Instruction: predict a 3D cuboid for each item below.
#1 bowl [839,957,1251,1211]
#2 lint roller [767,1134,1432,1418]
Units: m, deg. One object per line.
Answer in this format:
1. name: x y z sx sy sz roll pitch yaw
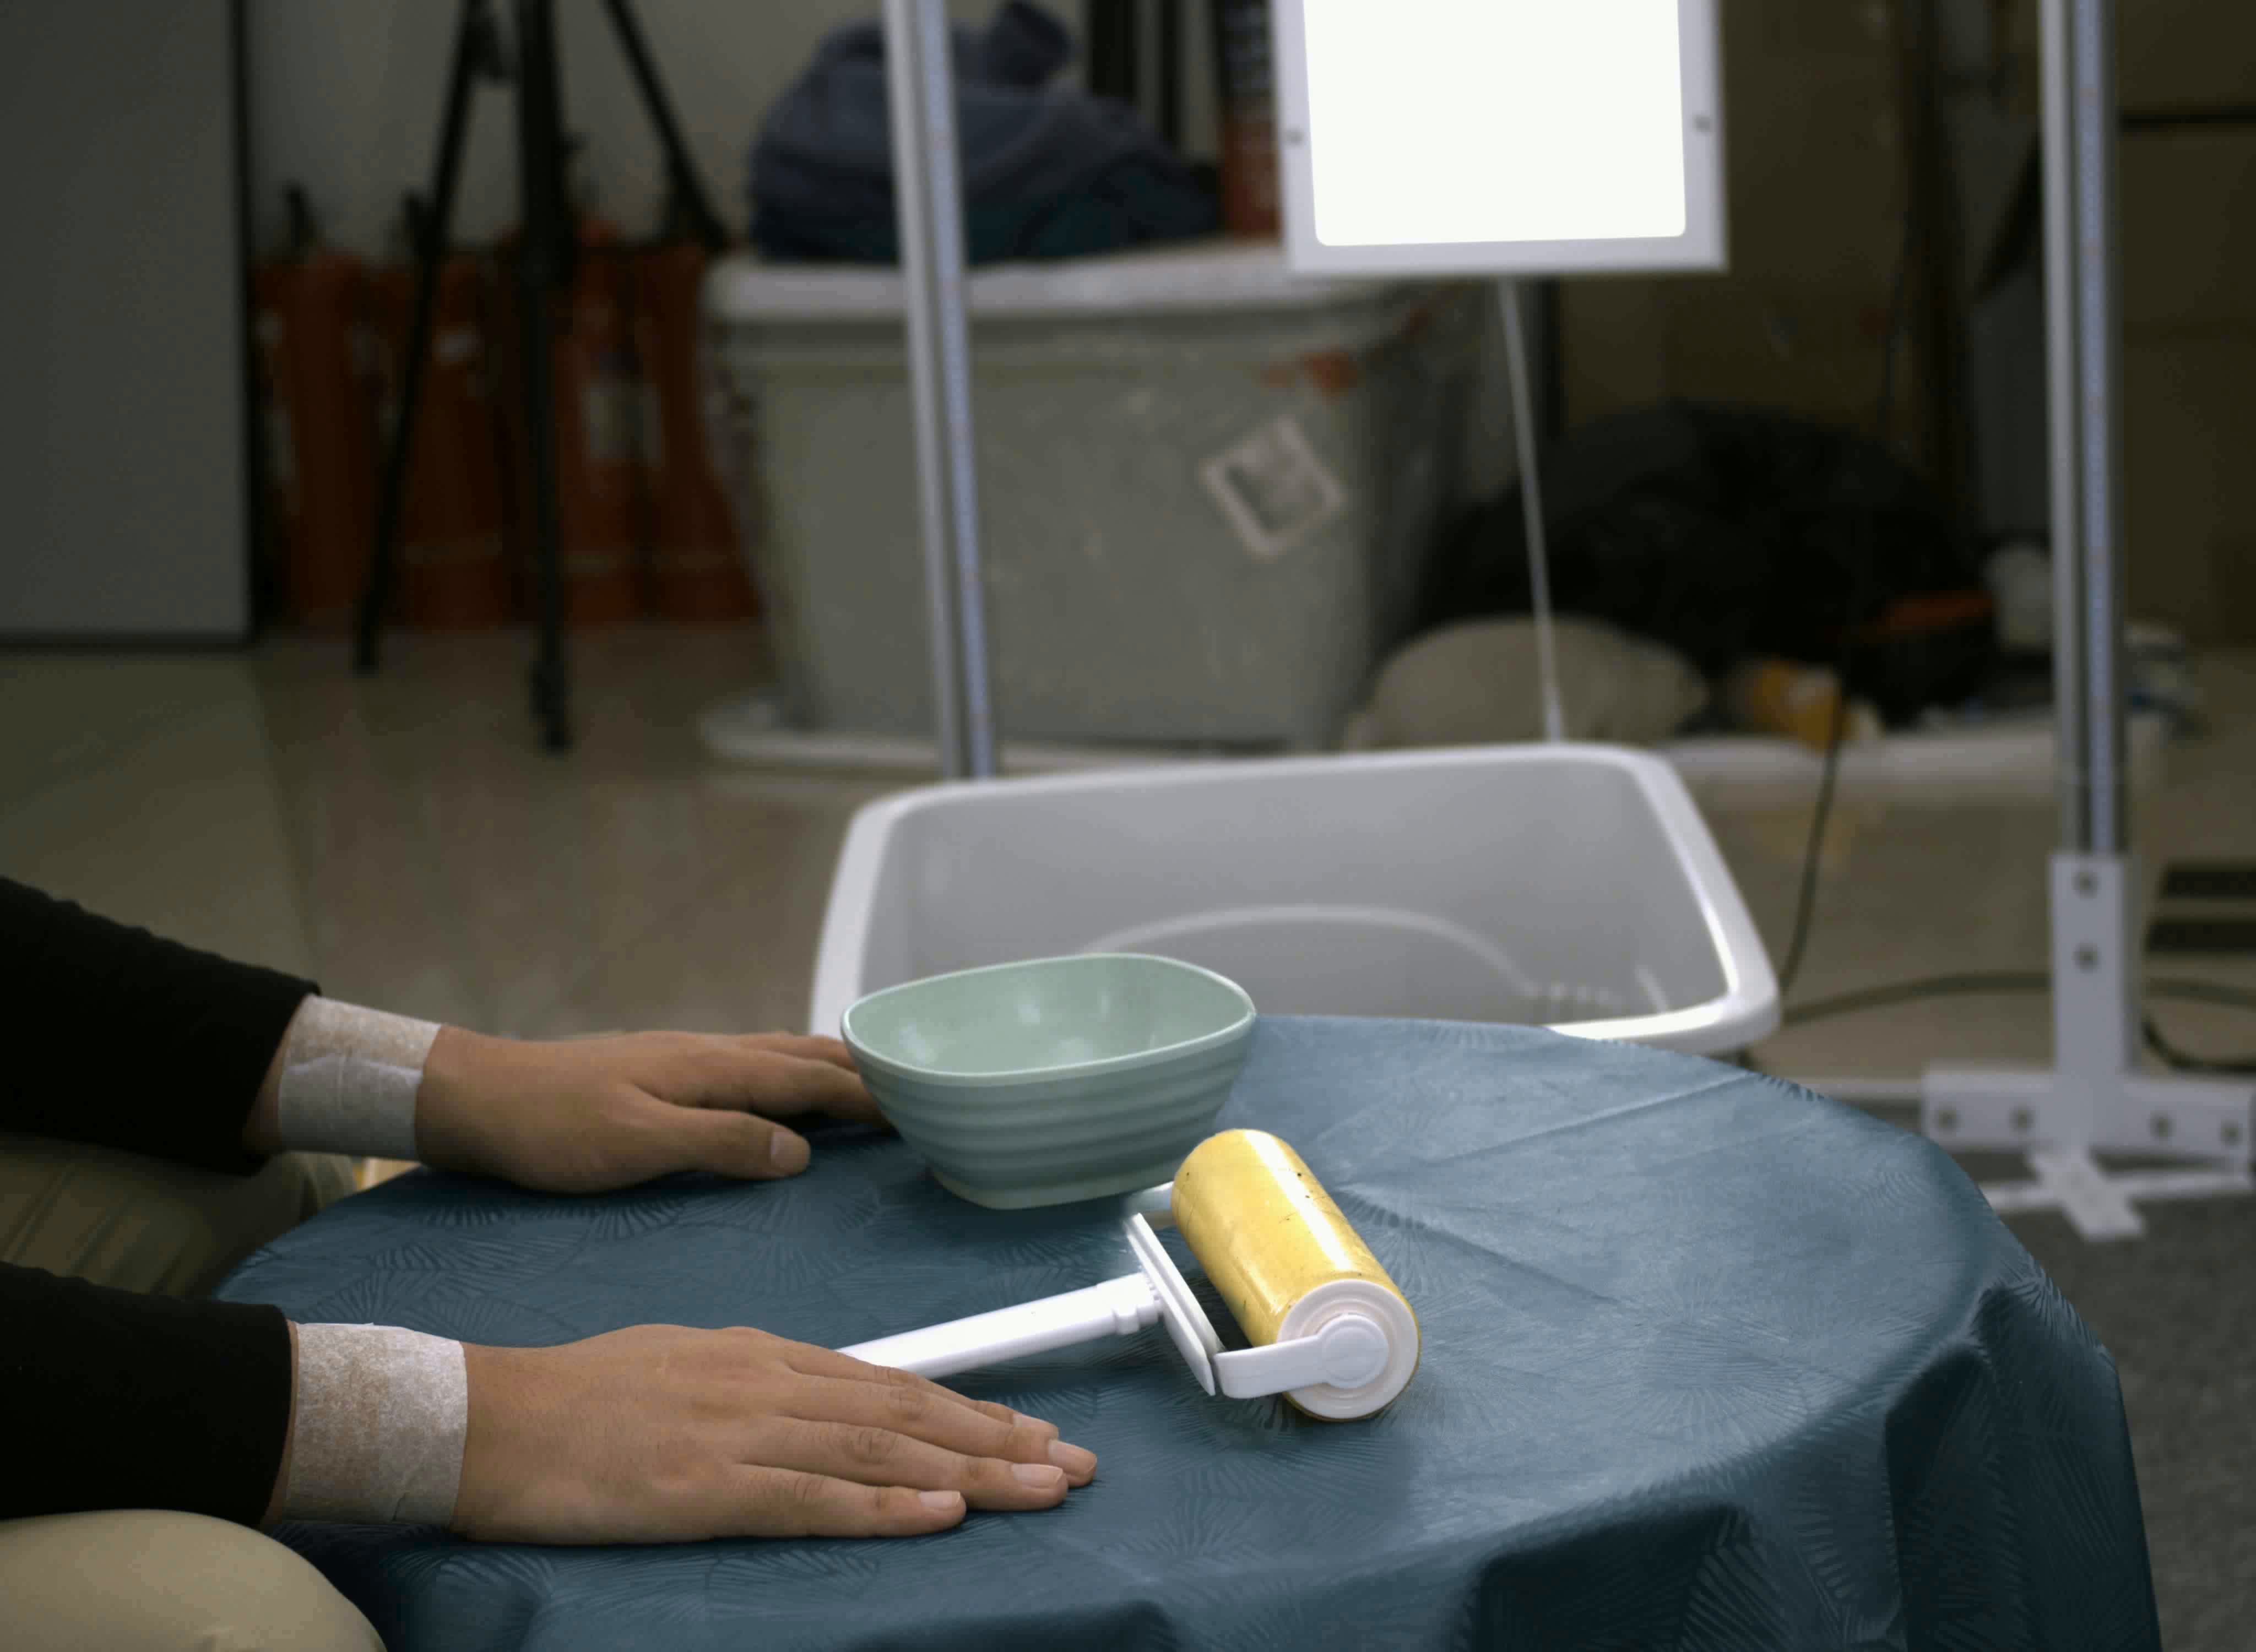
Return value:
1. bowl: -0.028 0.093 1.926 0.151 0.059 0.151 -3 14 -1
2. lint roller: -0.018 0.145 1.717 0.190 0.051 0.175 -3 13 -10
